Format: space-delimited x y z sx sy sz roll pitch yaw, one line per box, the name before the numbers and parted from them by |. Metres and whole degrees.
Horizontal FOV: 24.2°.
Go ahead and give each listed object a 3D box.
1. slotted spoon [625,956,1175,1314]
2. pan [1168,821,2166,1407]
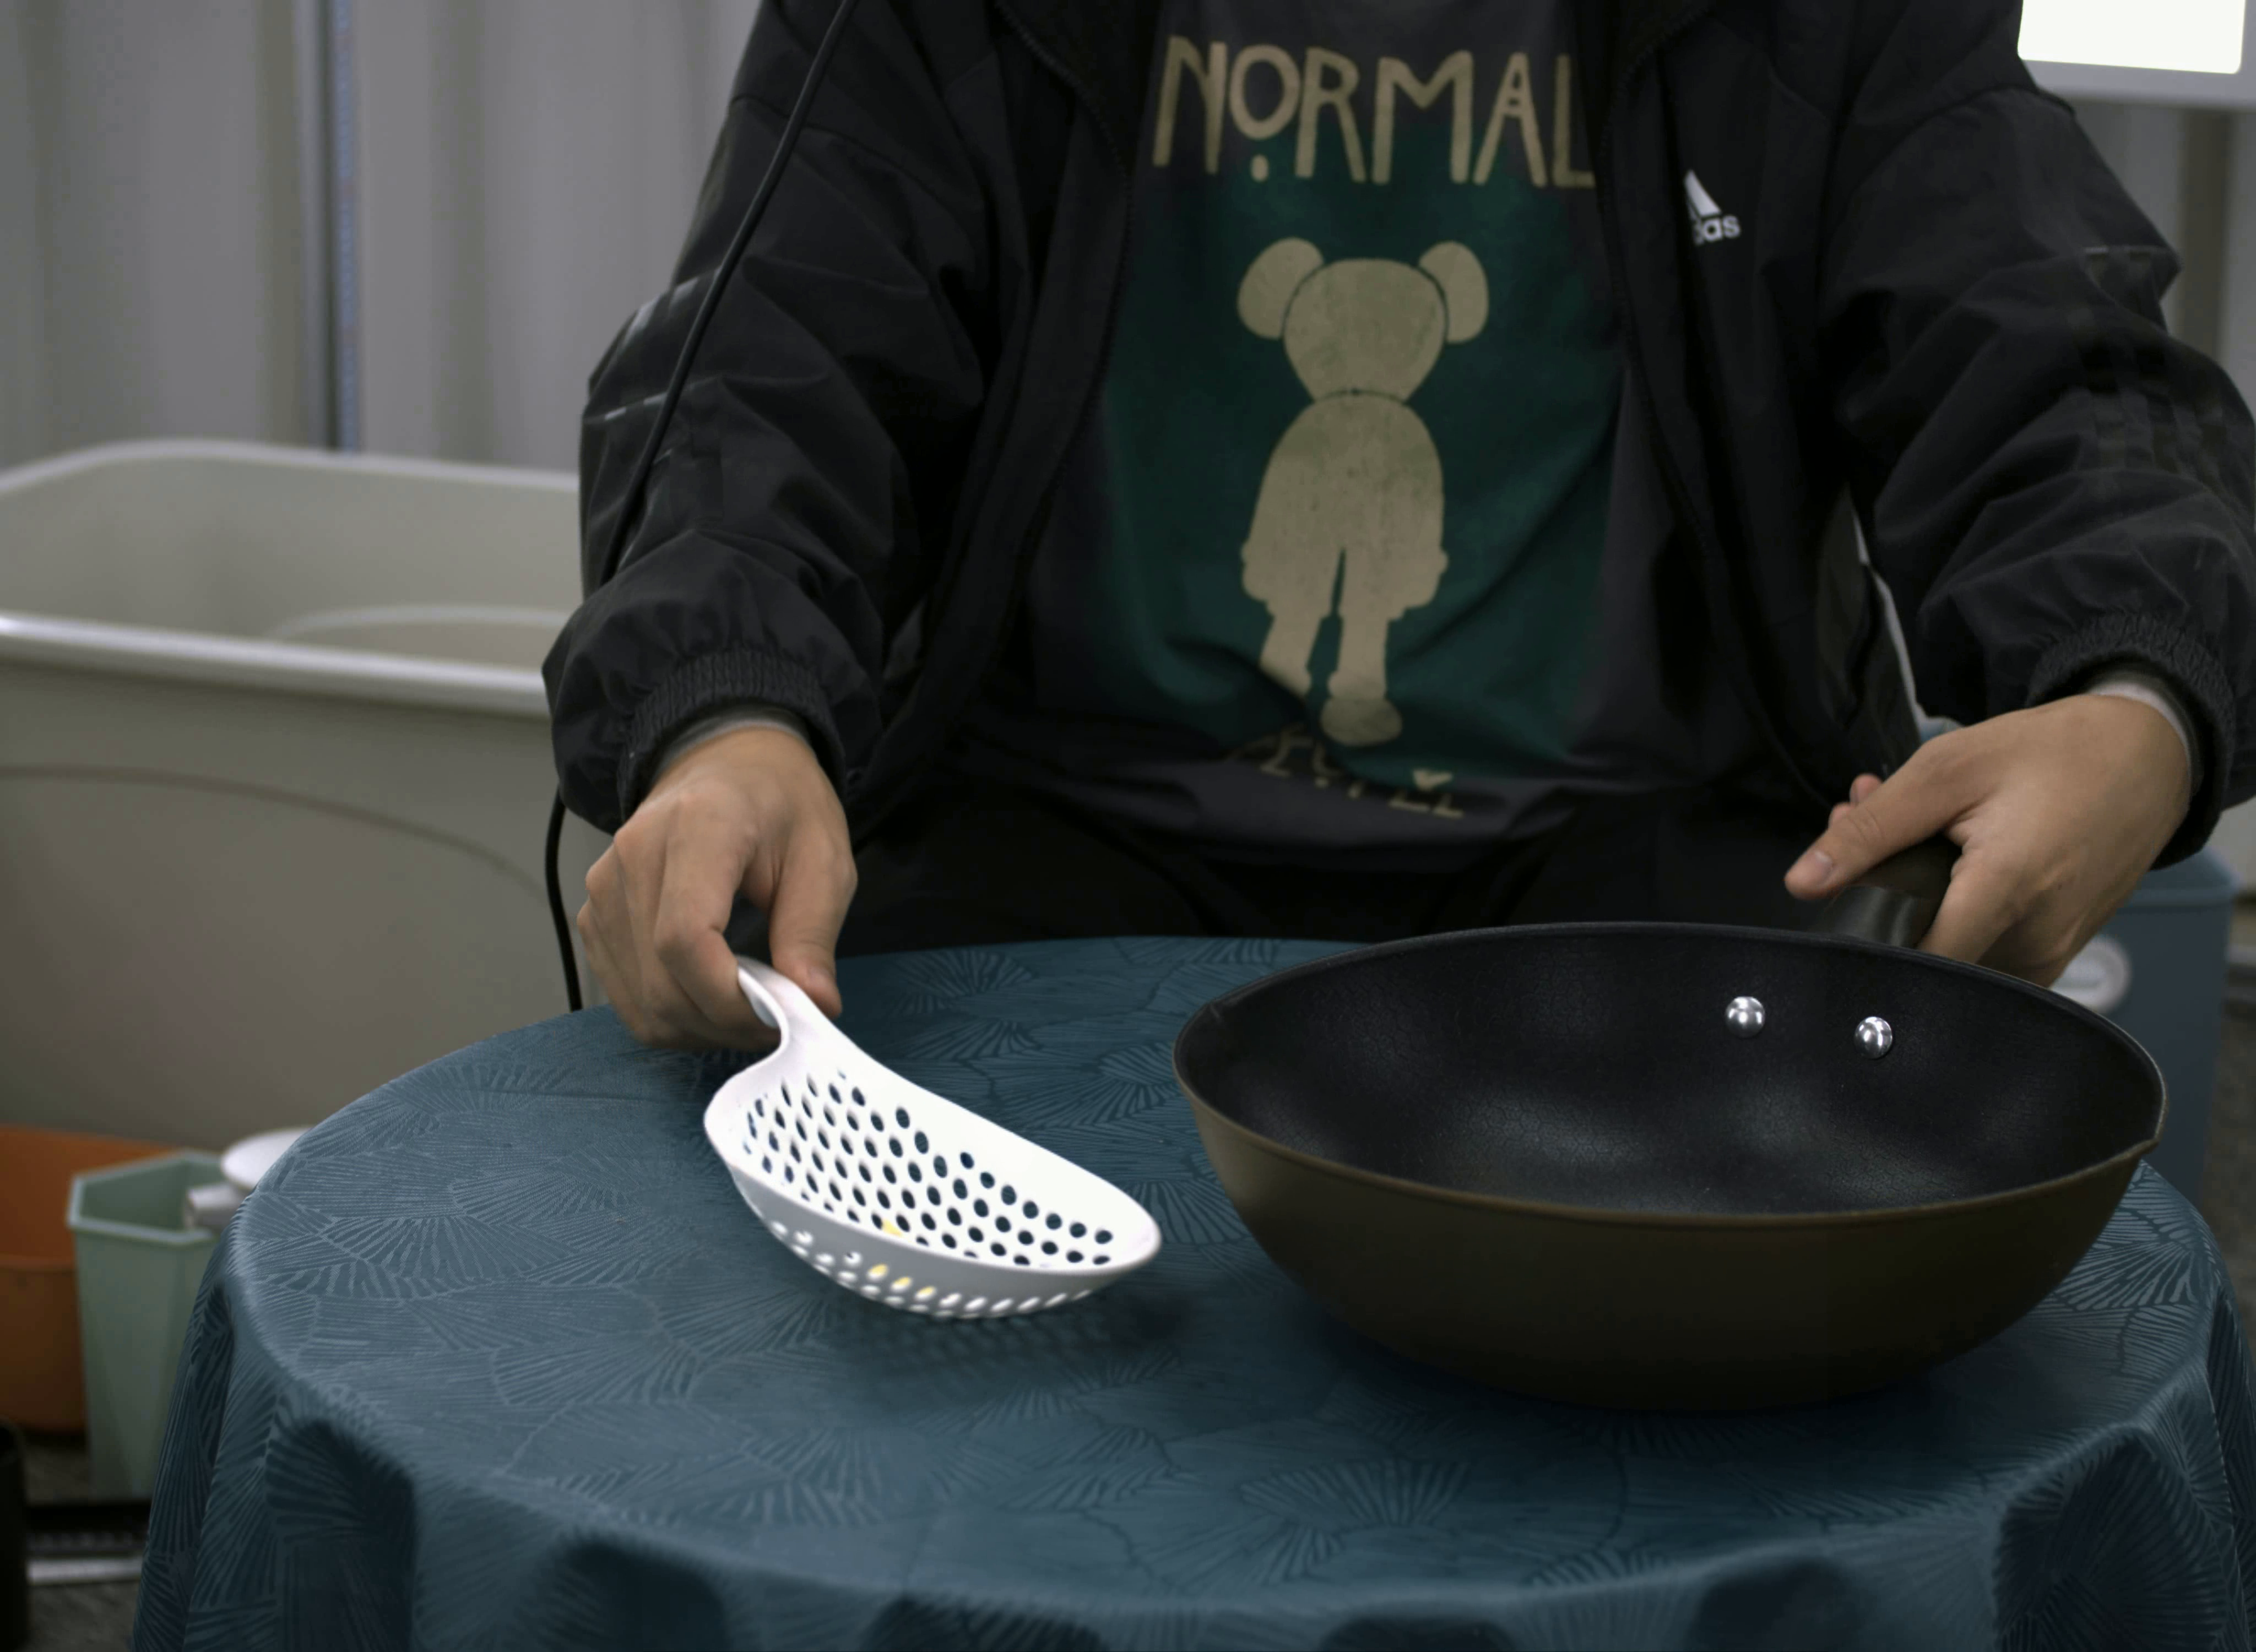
slotted spoon | -0.094 0.082 1.616 0.137 0.050 0.344 9 16 -23
pan | 0.192 0.082 1.587 0.285 0.087 0.464 8 16 25
